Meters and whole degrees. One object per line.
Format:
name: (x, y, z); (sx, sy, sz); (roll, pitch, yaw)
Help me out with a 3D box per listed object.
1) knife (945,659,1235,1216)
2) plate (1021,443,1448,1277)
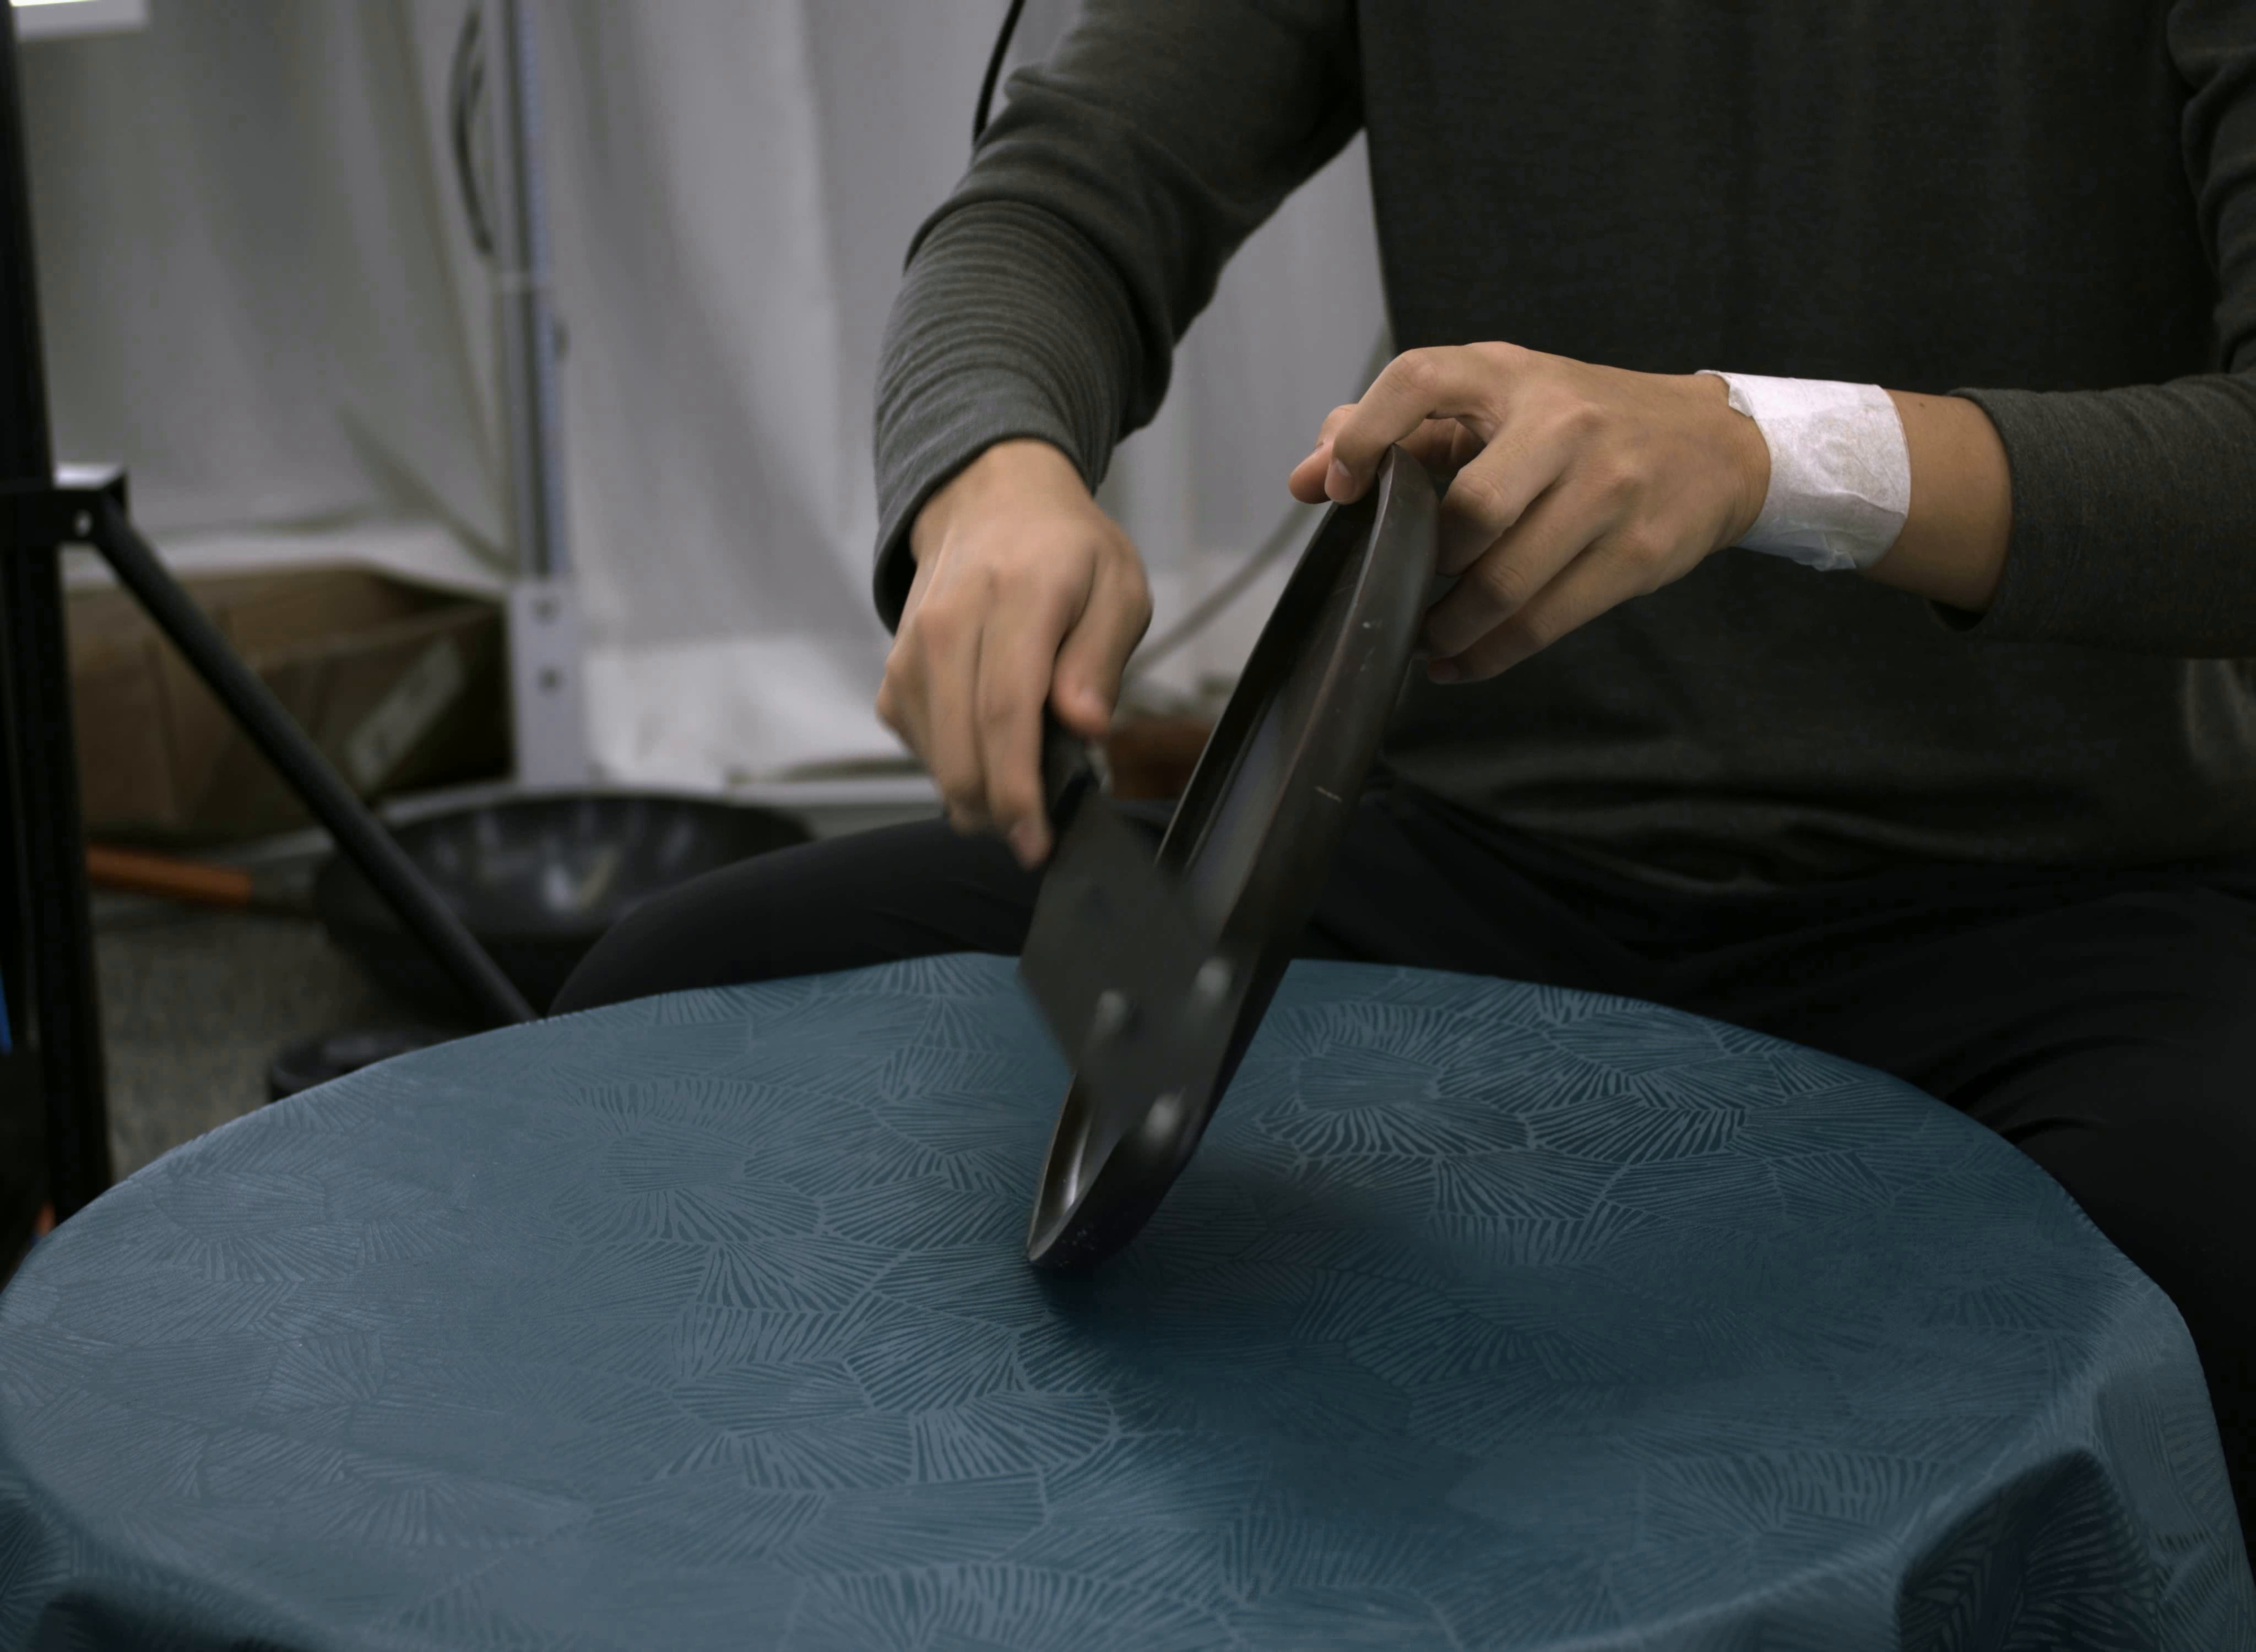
knife: (-0.015, 0.021, 1.466); (0.020, 0.081, 0.306); (15, 19, -18)
plate: (0.031, 0.011, 1.494); (0.029, 0.256, 0.255); (22, 15, -6)
